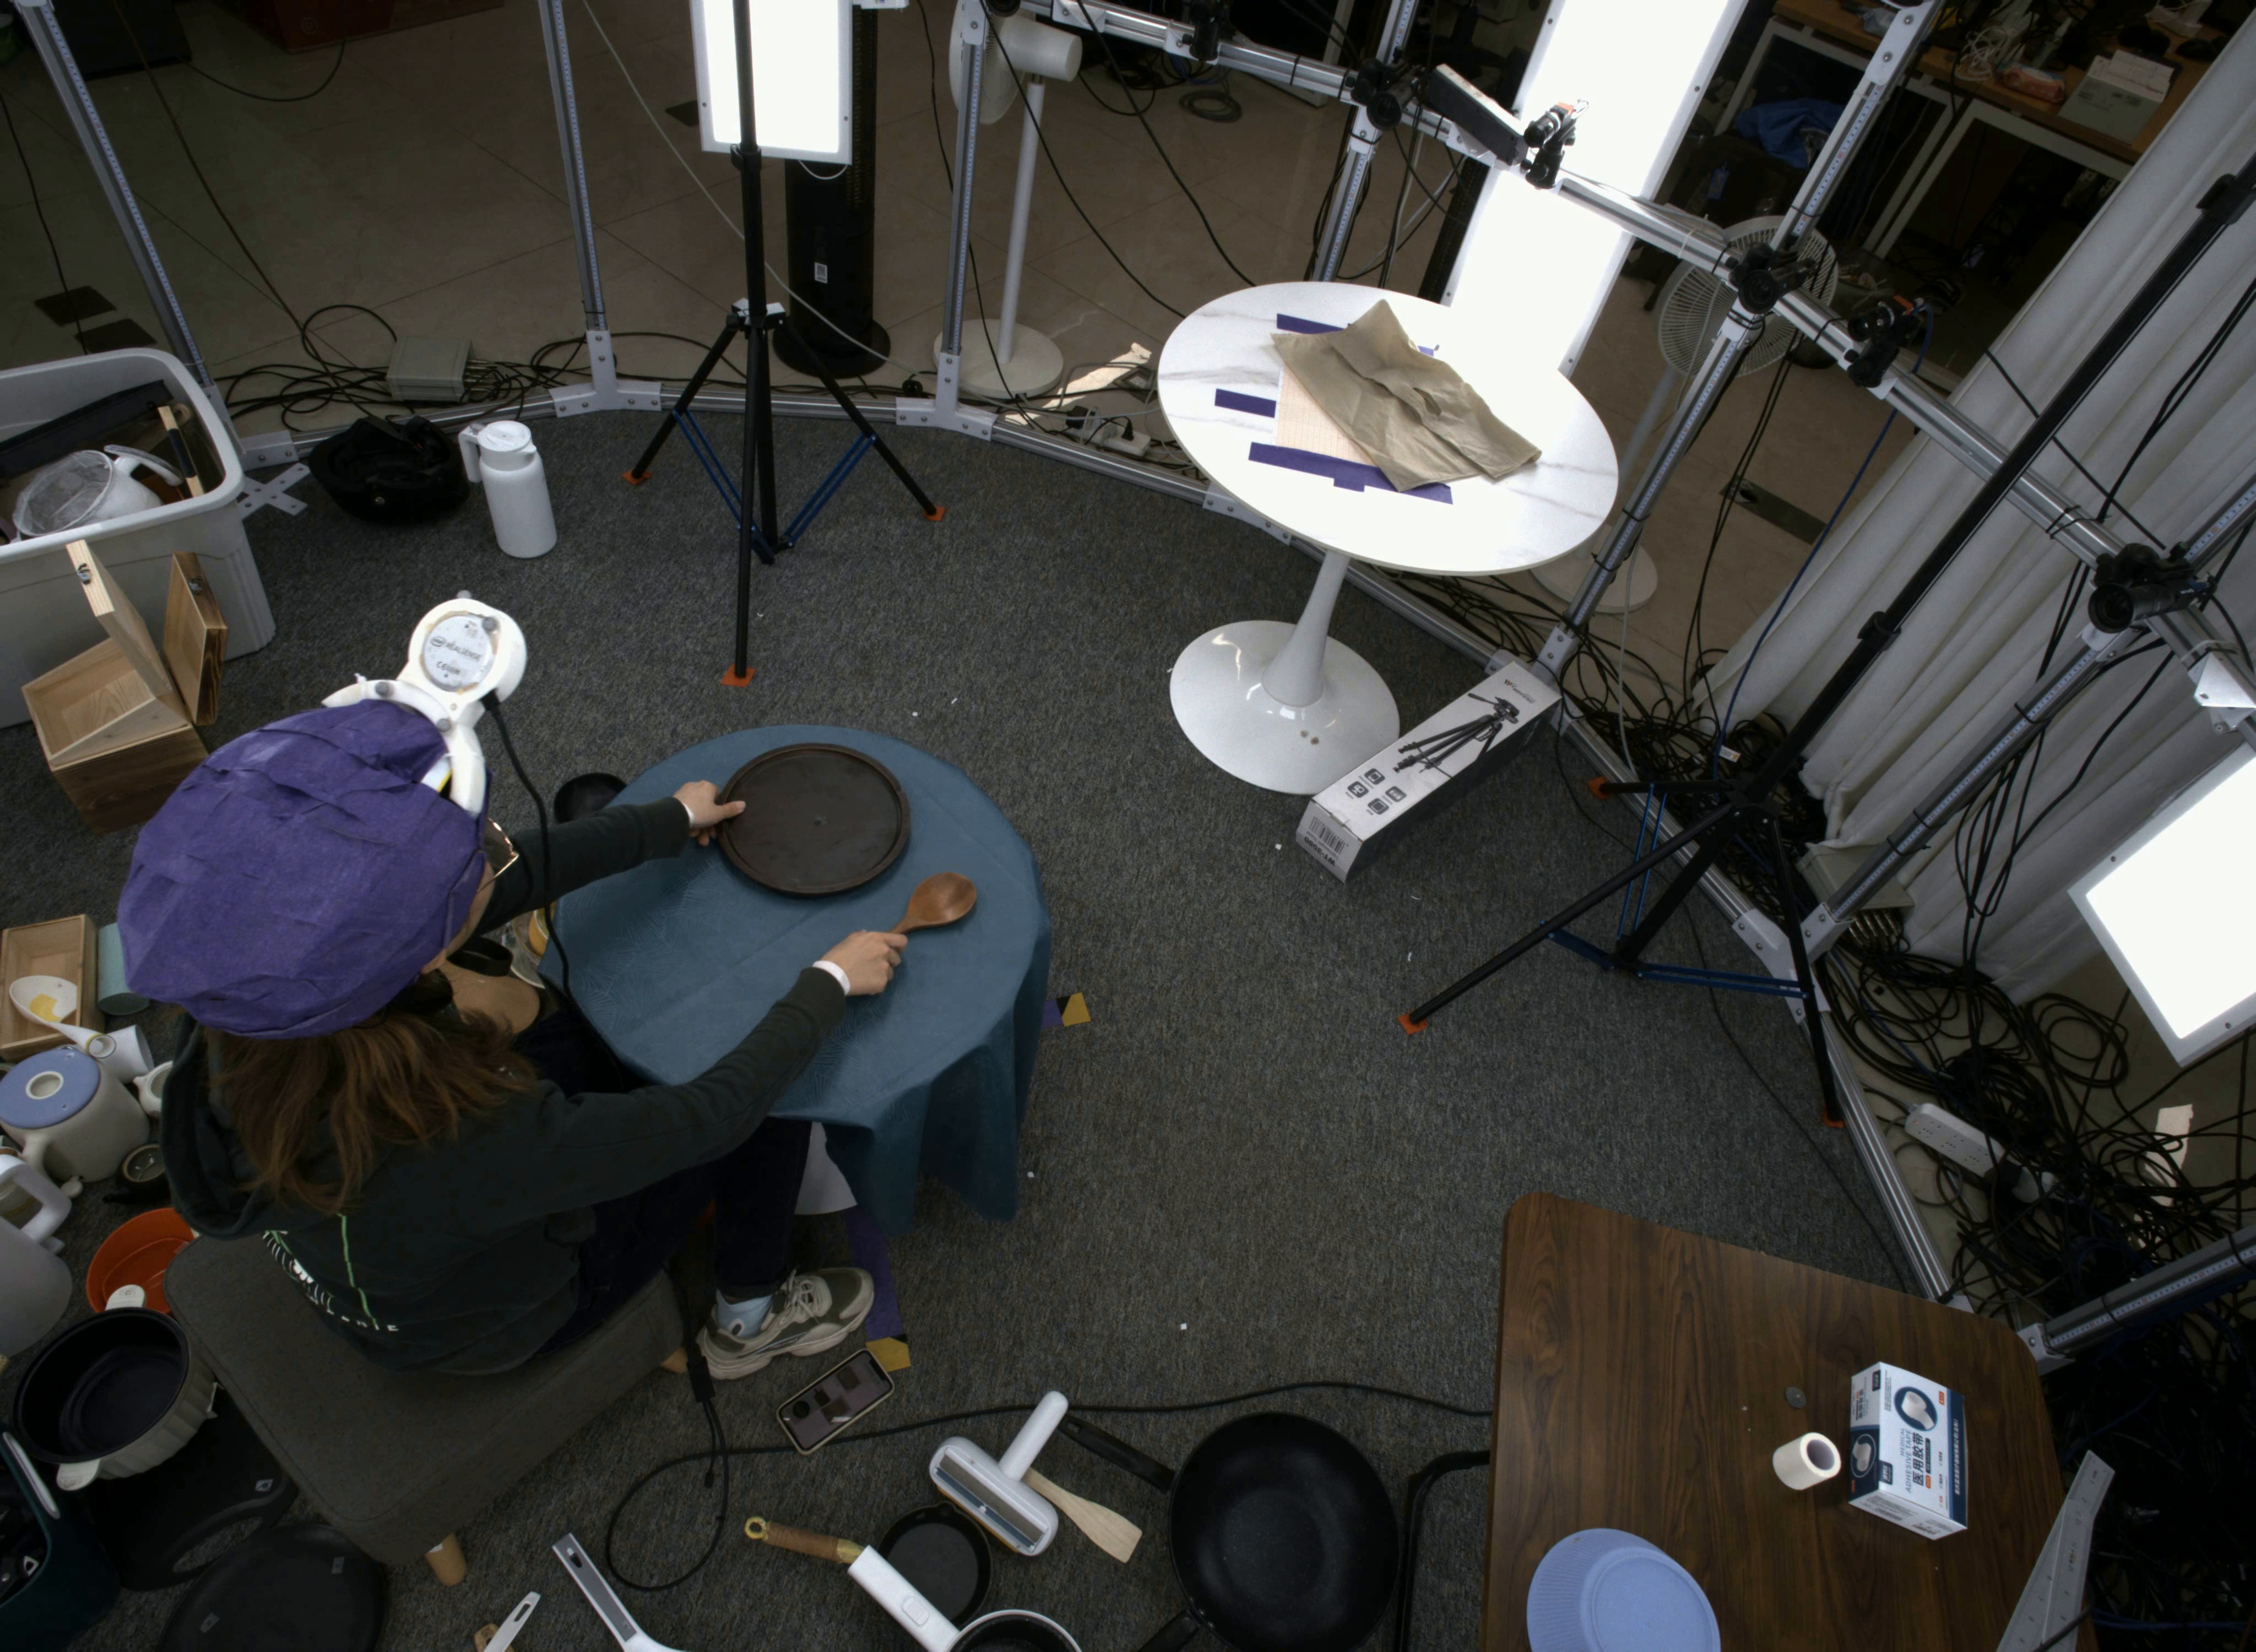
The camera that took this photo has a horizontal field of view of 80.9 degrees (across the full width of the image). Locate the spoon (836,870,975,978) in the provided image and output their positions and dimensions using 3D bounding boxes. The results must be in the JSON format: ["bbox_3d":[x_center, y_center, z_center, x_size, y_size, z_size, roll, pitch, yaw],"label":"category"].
[{"bbox_3d":[-0.284,0.125,1.660,0.074,0.017,0.216,42,55,17],"label":"spoon"}]

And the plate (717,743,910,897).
[{"bbox_3d":[-0.417,-0.010,1.724,0.254,0.029,0.250,8,51,-9],"label":"plate"}]
